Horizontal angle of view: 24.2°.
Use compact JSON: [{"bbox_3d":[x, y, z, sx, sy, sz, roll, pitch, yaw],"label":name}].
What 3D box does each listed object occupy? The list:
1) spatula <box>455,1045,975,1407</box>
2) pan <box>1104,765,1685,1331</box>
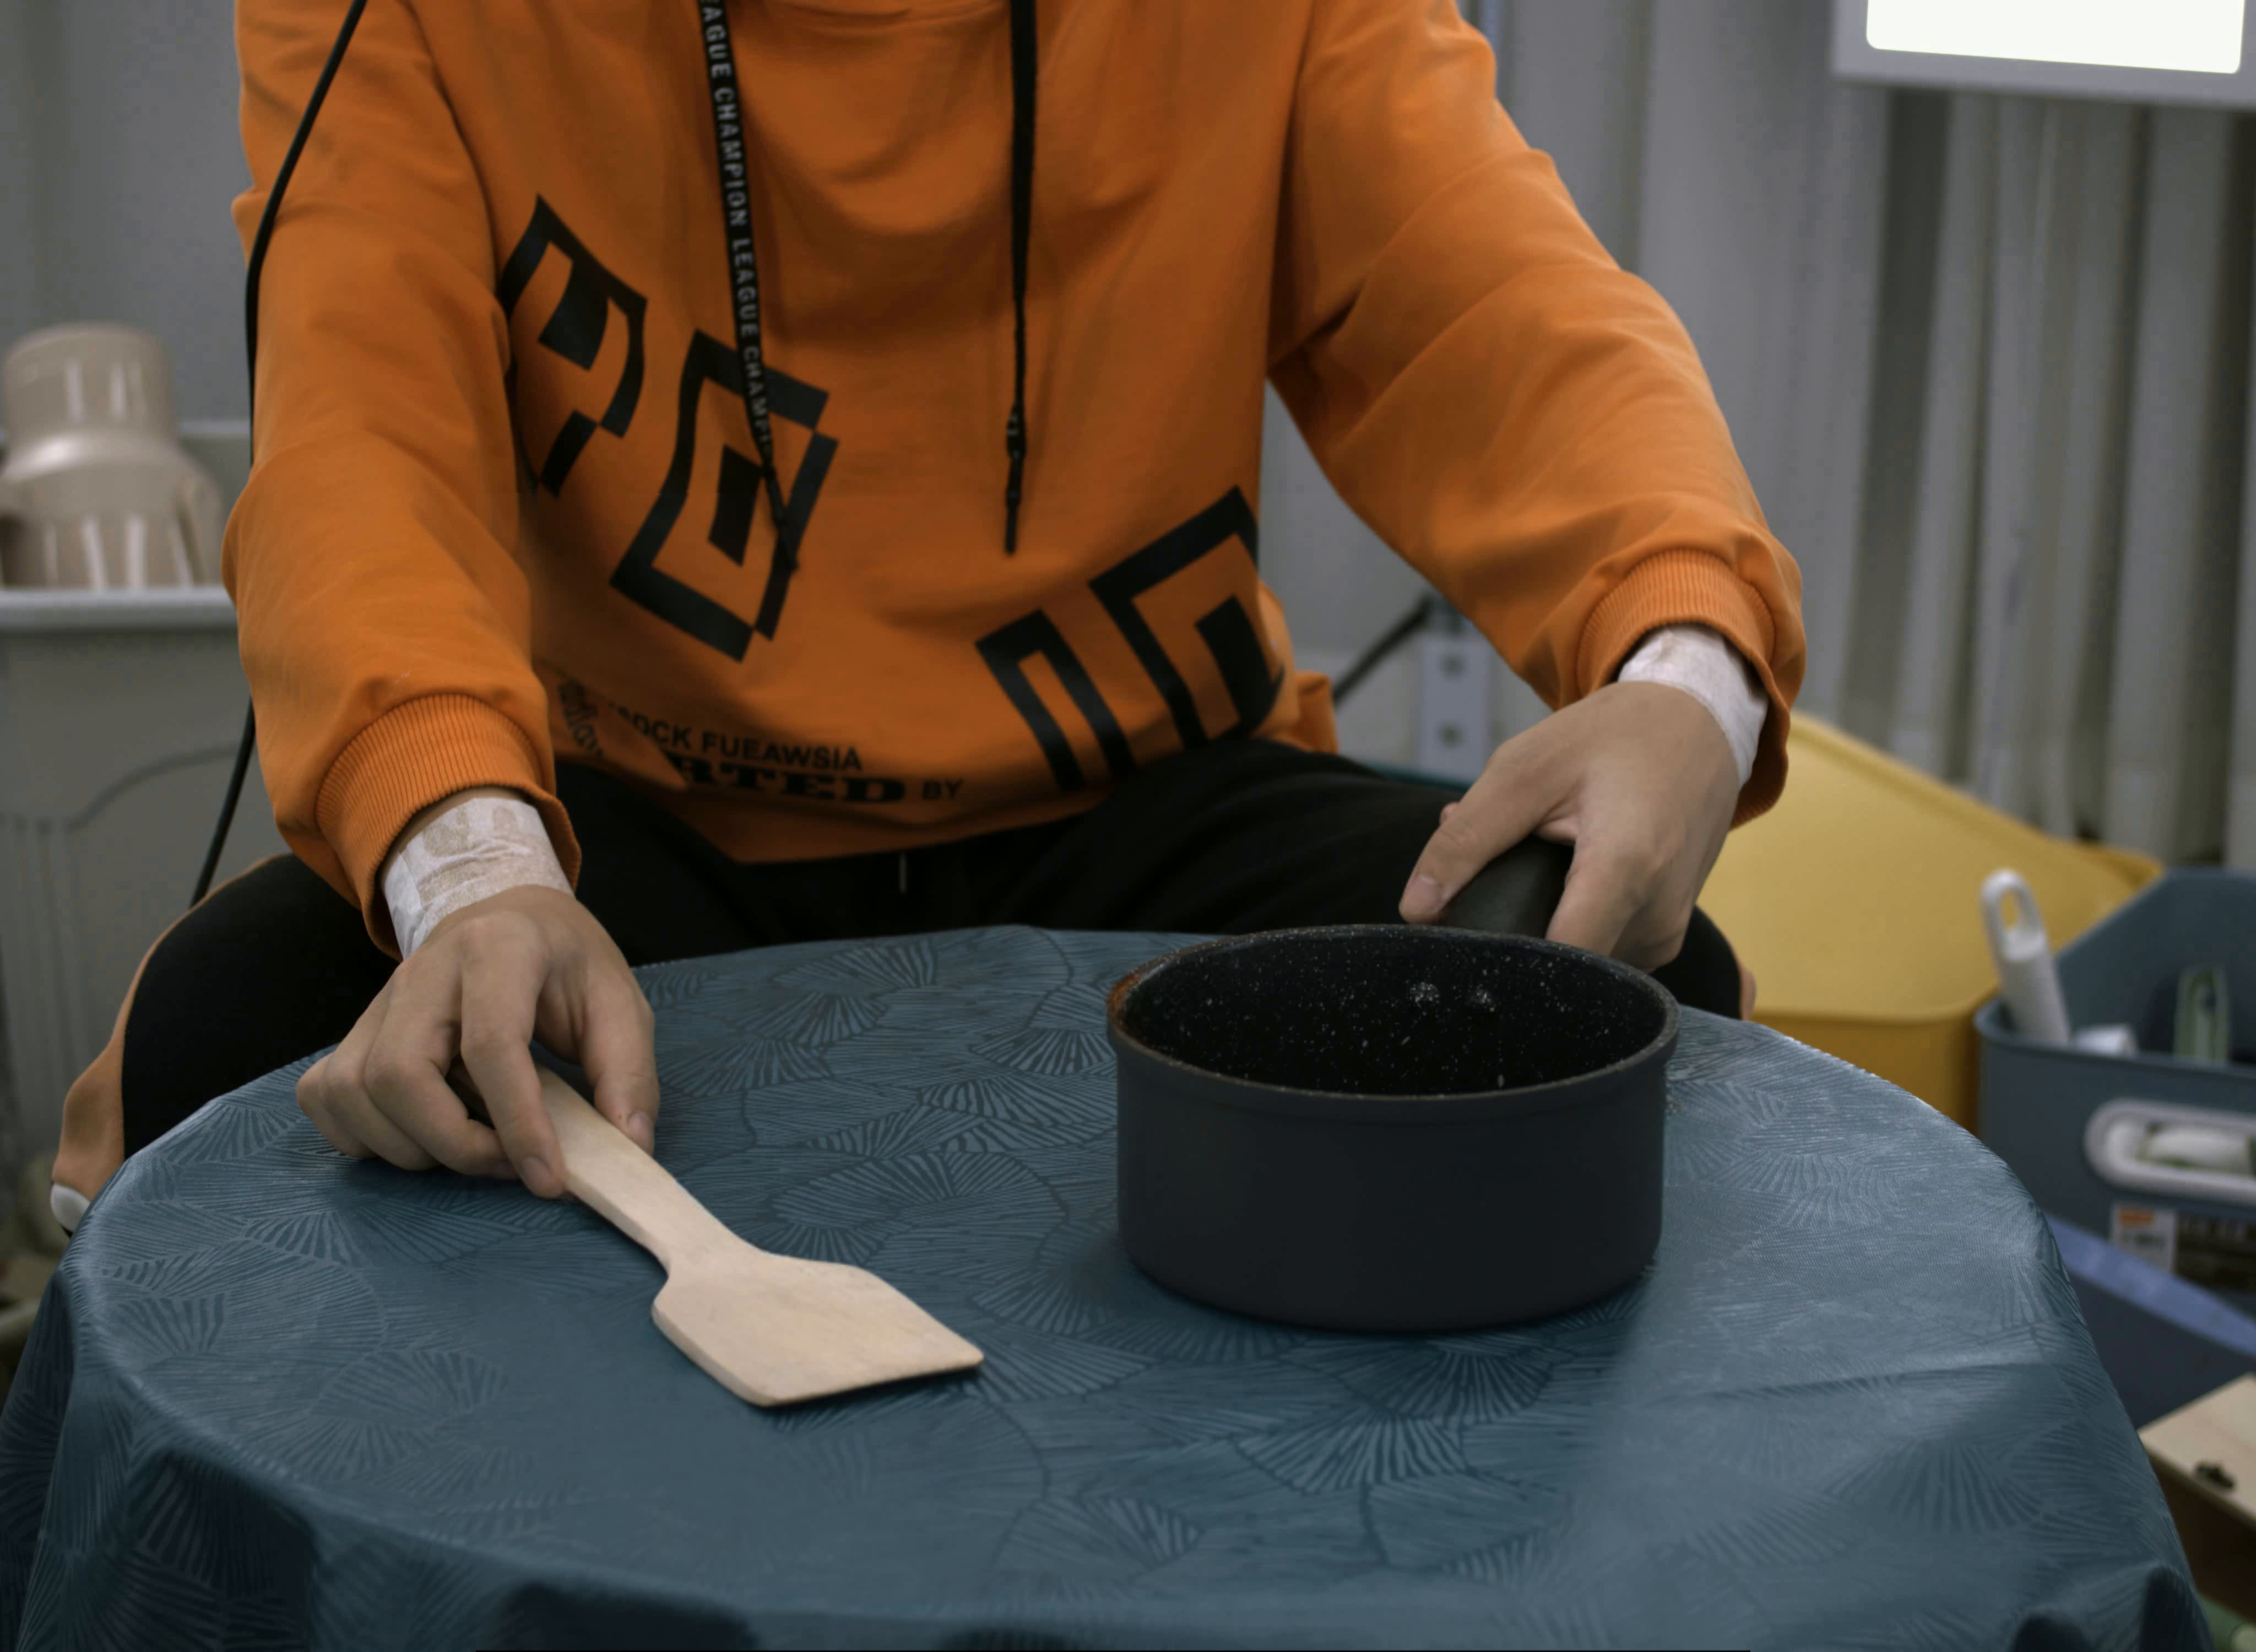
[{"bbox_3d":[-0.140,0.115,1.576,0.072,0.011,0.289,-10,21,-27],"label":"spatula"},{"bbox_3d":[0.105,0.065,1.638,0.170,0.087,0.329,6,18,19],"label":"pan"}]
